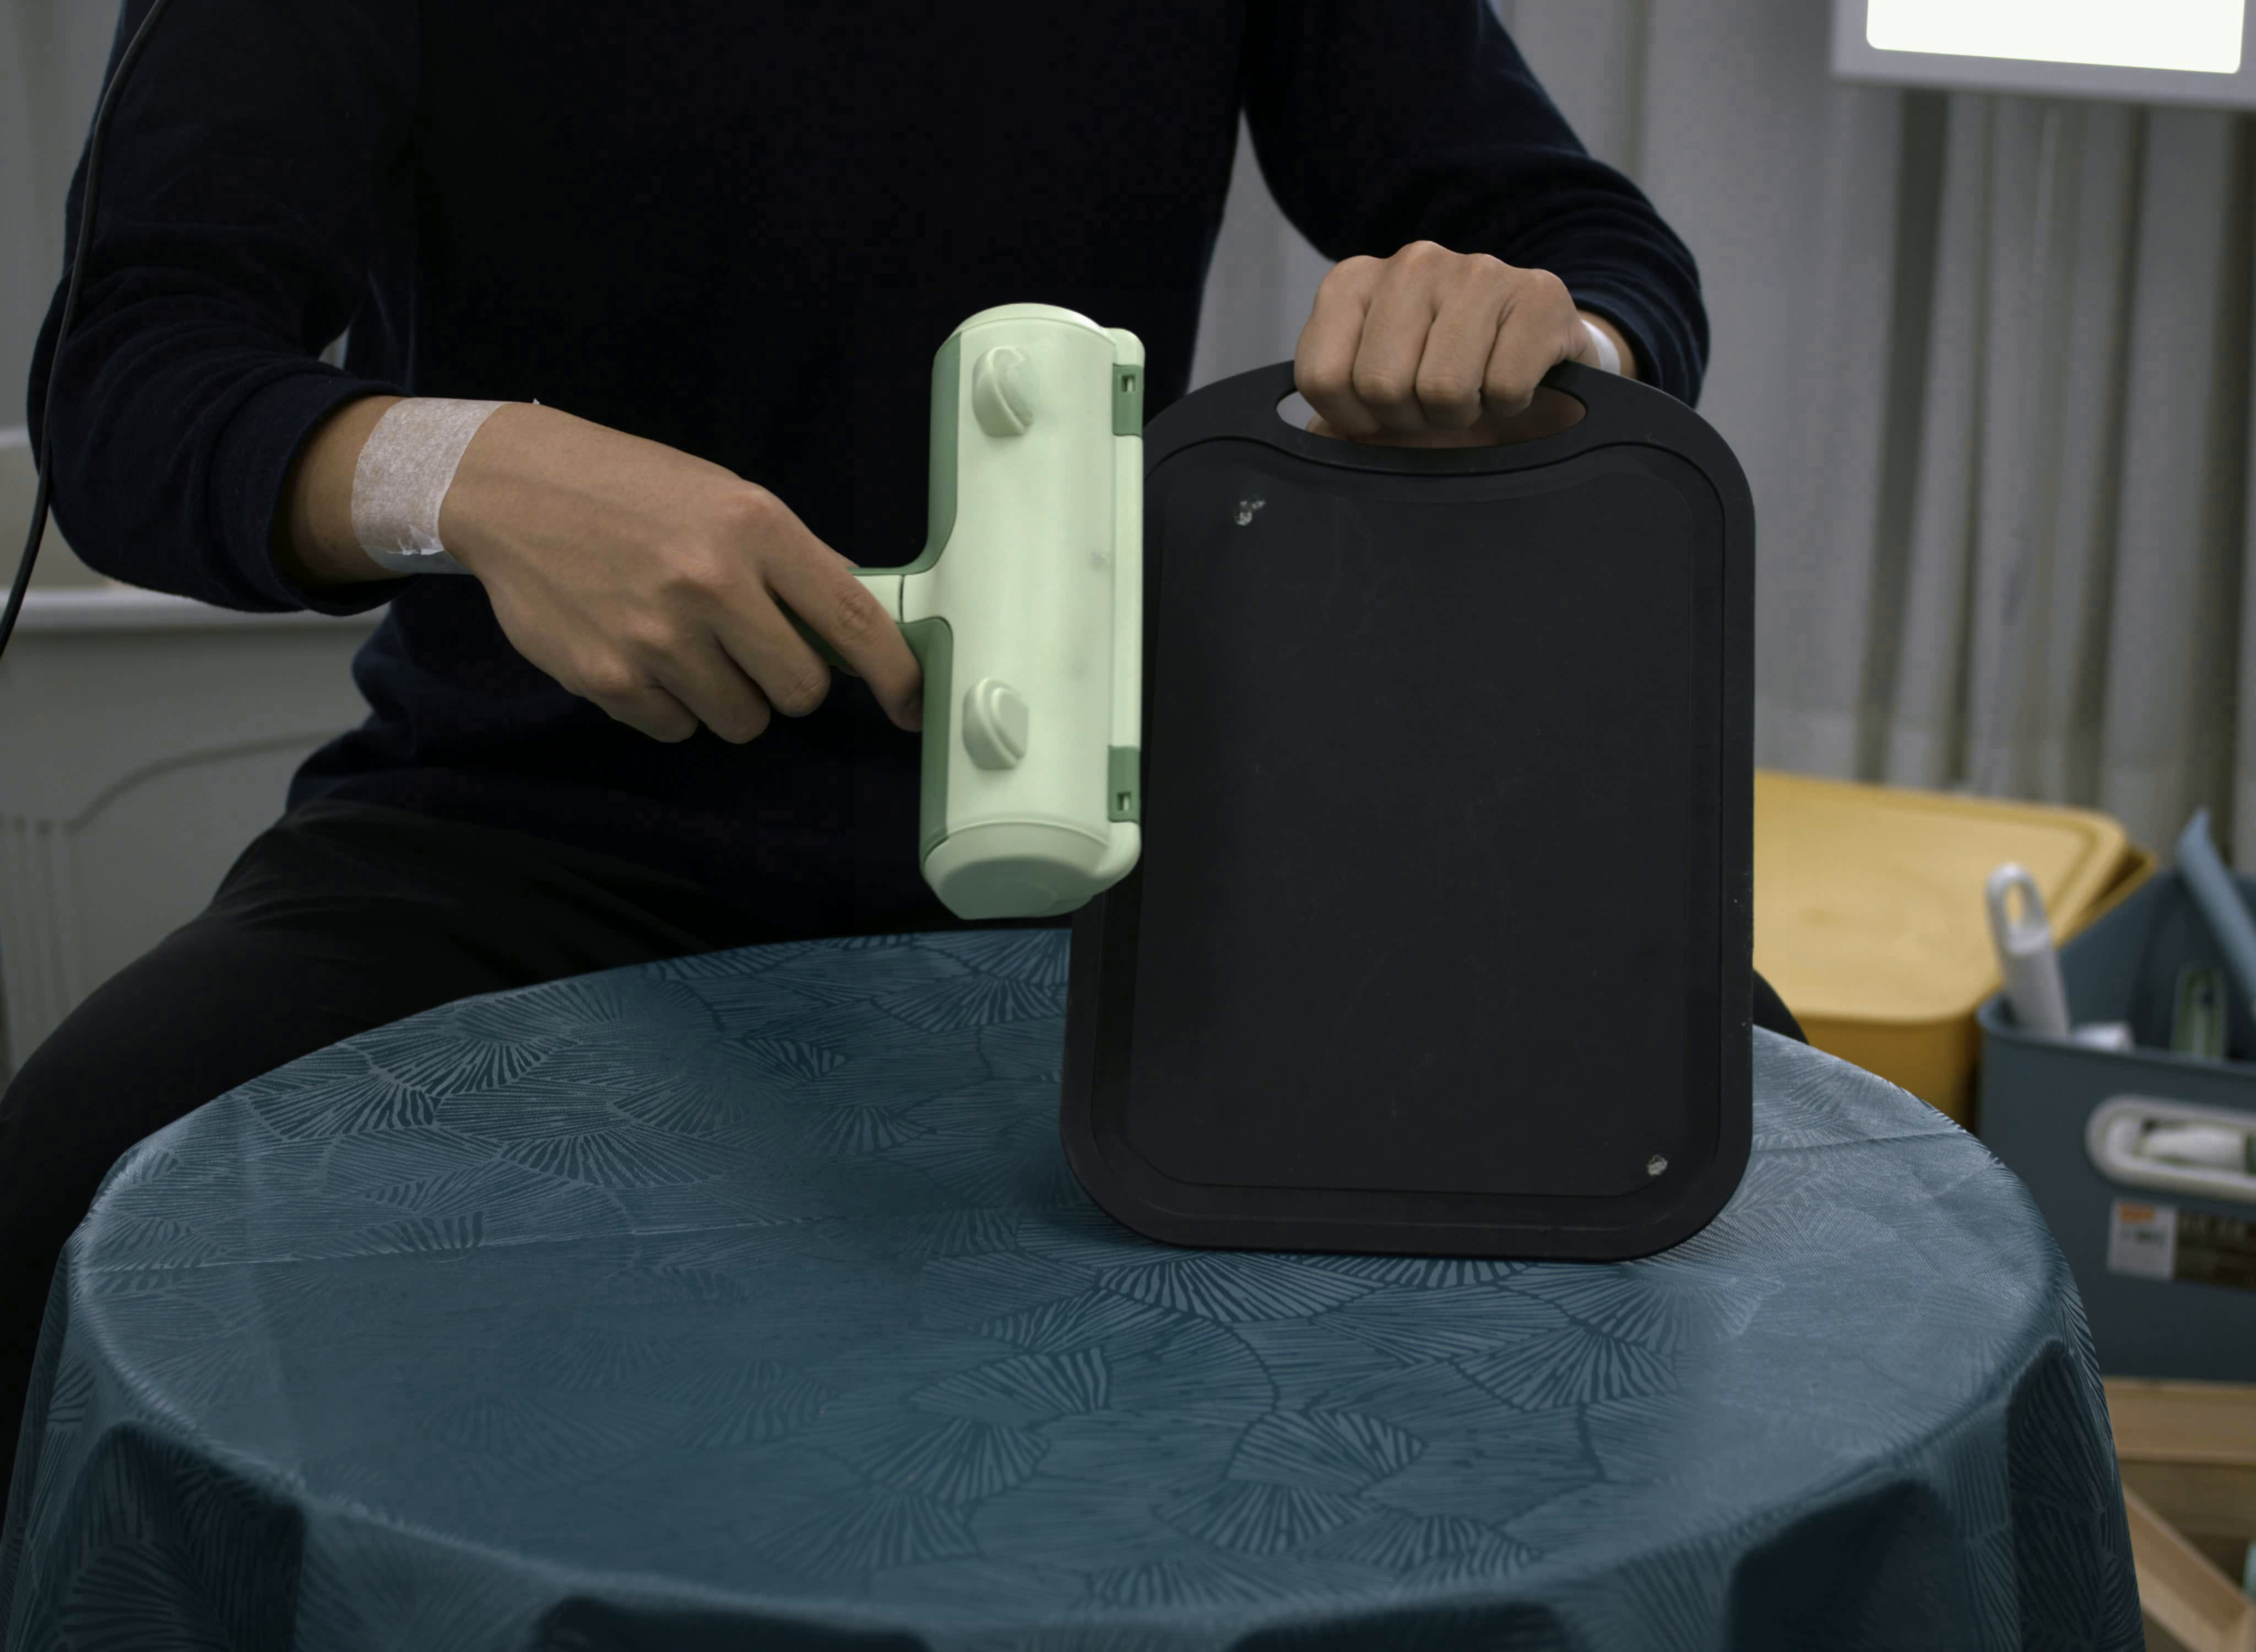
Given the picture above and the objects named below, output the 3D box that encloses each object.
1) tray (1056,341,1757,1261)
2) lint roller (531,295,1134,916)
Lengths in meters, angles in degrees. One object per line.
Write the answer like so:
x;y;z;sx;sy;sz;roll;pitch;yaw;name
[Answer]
0.089;-0.016;1.640;0.210;0.323;0.010;2;-28;4;tray
-0.090;-0.074;1.593;0.183;0.197;0.083;3;-27;-5;lint roller
